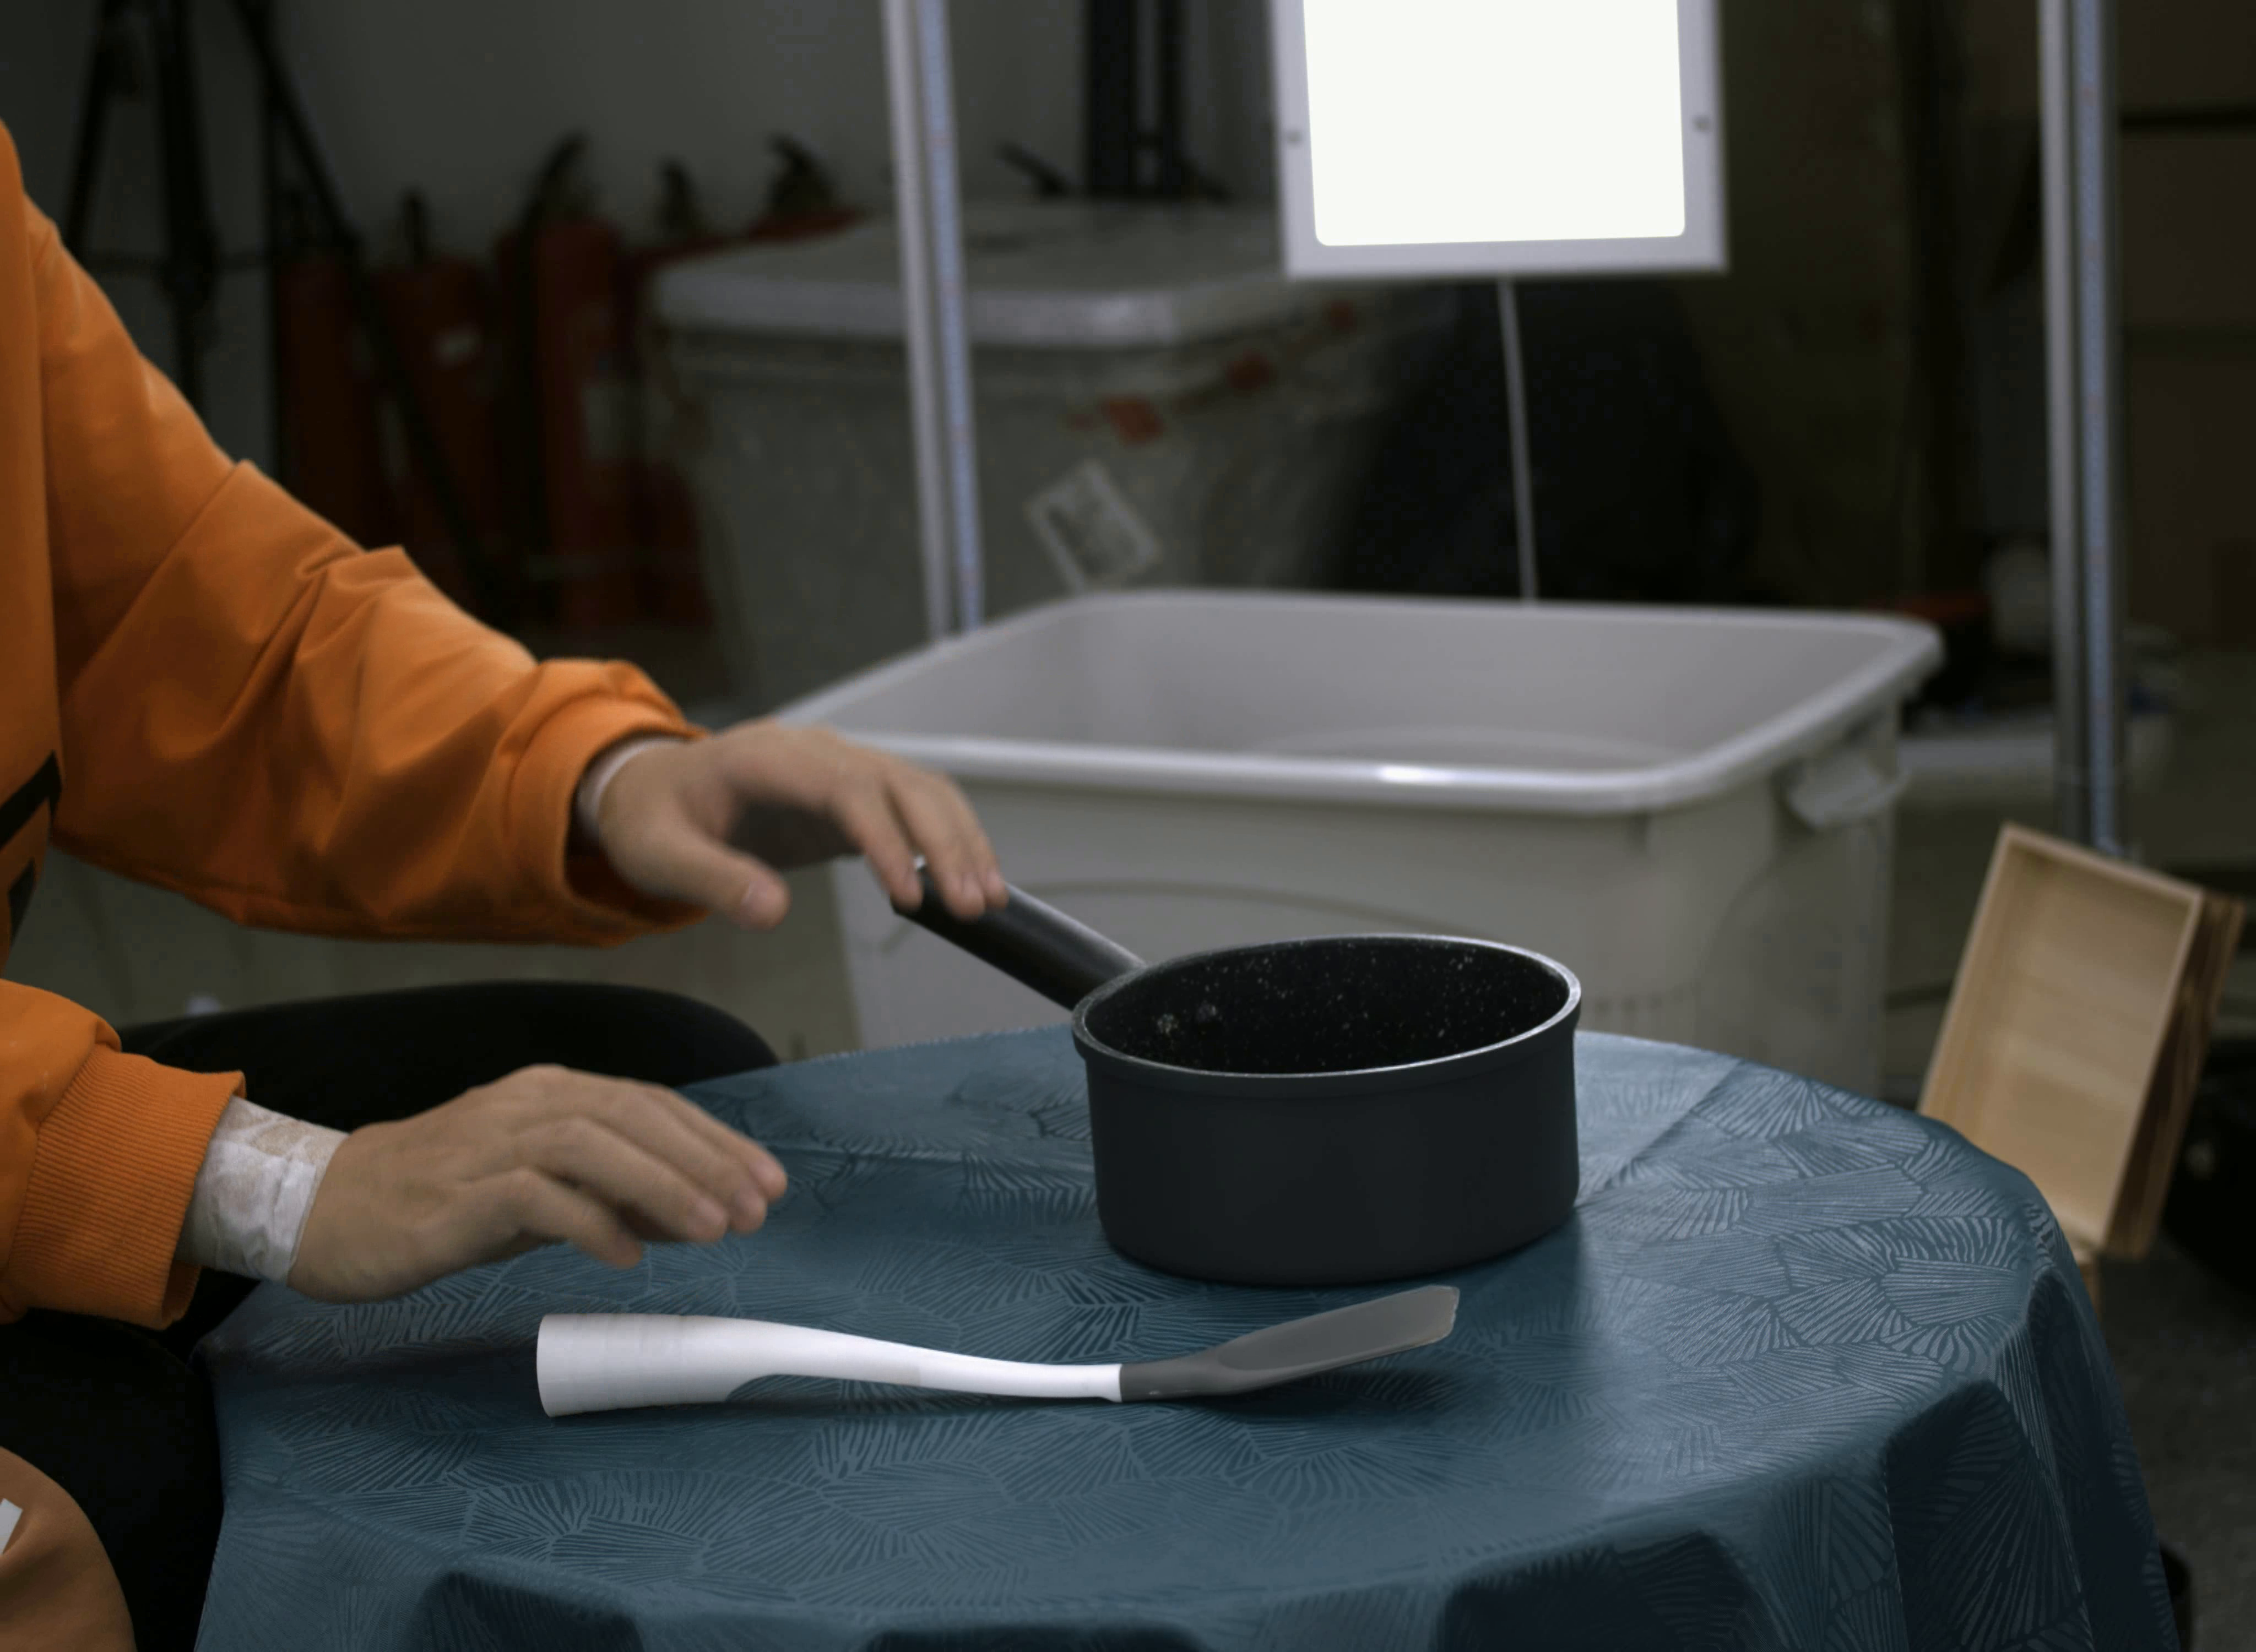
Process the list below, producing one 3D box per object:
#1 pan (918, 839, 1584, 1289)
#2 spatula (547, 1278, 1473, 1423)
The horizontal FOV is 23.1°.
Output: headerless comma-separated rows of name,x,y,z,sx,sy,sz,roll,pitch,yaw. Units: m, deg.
pan,0.025,0.078,1.909,0.168,0.087,0.335,-13,17,-31
spatula,-0.036,0.162,1.698,0.289,0.032,0.058,-3,10,10
